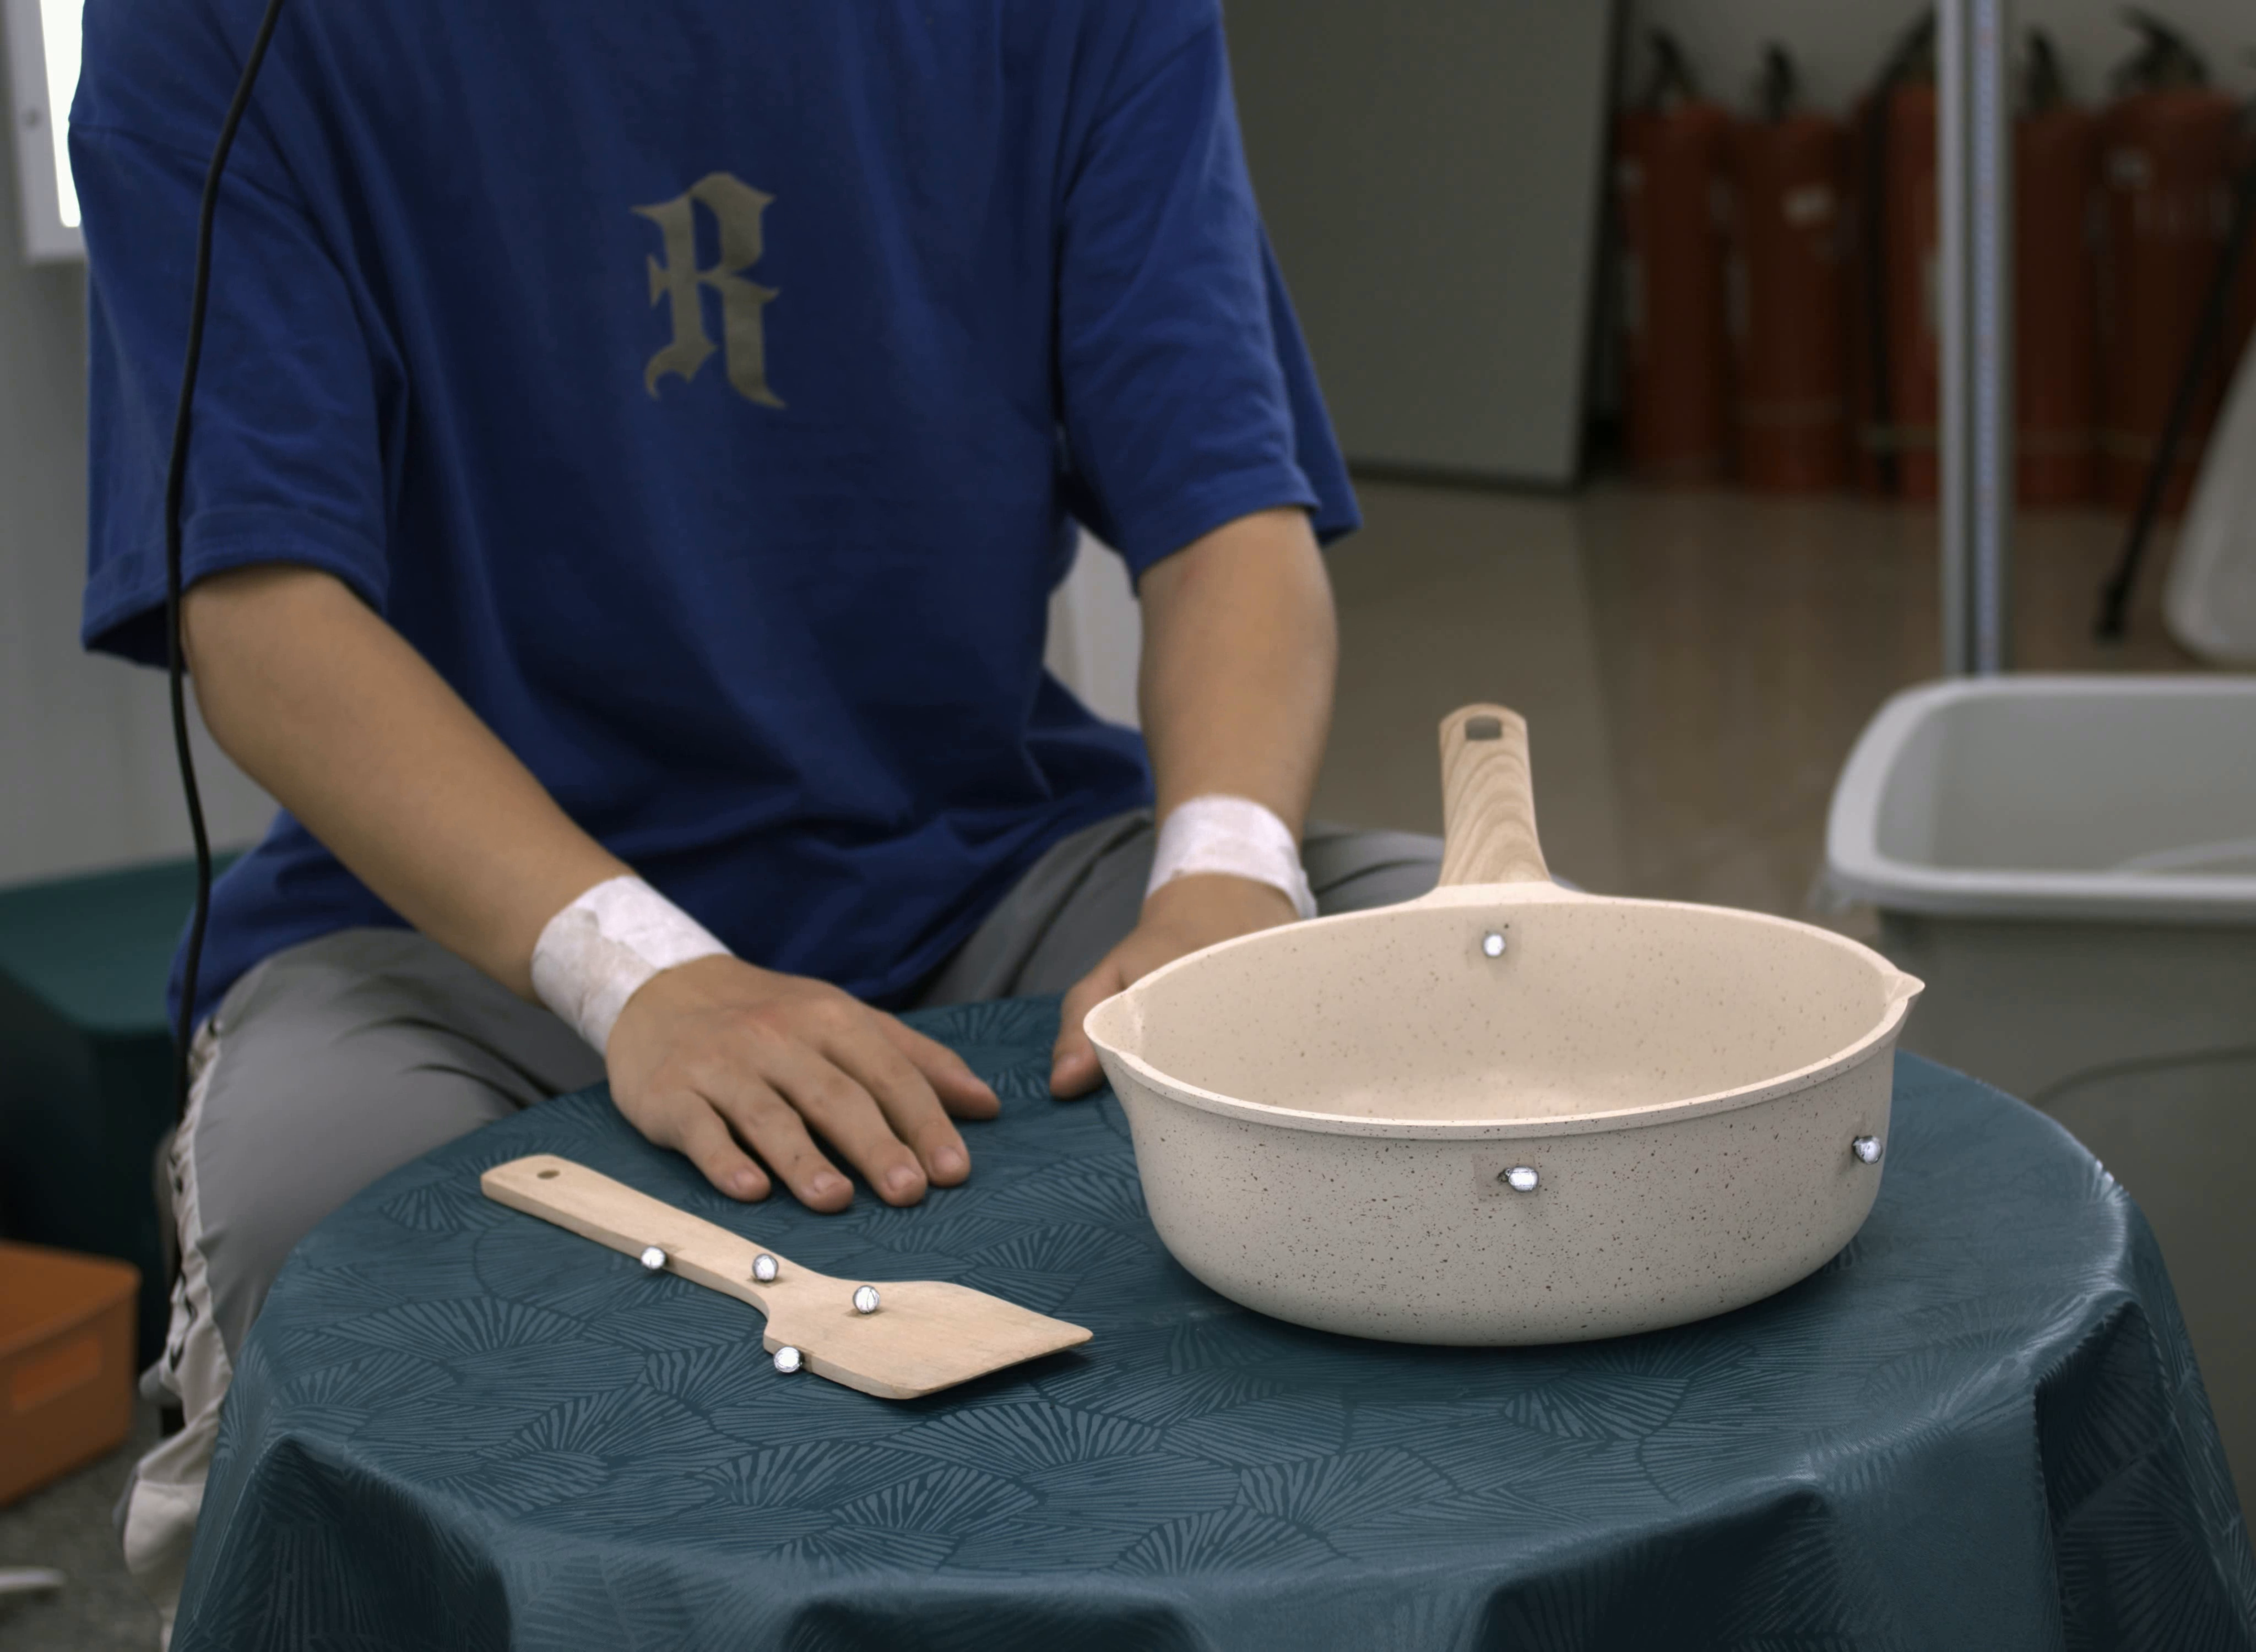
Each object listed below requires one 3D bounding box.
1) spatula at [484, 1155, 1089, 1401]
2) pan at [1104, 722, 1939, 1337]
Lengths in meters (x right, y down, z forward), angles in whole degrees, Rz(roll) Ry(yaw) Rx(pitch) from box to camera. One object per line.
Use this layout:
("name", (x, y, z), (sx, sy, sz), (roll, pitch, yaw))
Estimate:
("spatula", (-0.123, 0.140, 1.711), (0.071, 0.011, 0.296), (-15, 18, -34))
("pan", (0.126, 0.062, 1.765), (0.260, 0.103, 0.435), (-5, 13, 3))
